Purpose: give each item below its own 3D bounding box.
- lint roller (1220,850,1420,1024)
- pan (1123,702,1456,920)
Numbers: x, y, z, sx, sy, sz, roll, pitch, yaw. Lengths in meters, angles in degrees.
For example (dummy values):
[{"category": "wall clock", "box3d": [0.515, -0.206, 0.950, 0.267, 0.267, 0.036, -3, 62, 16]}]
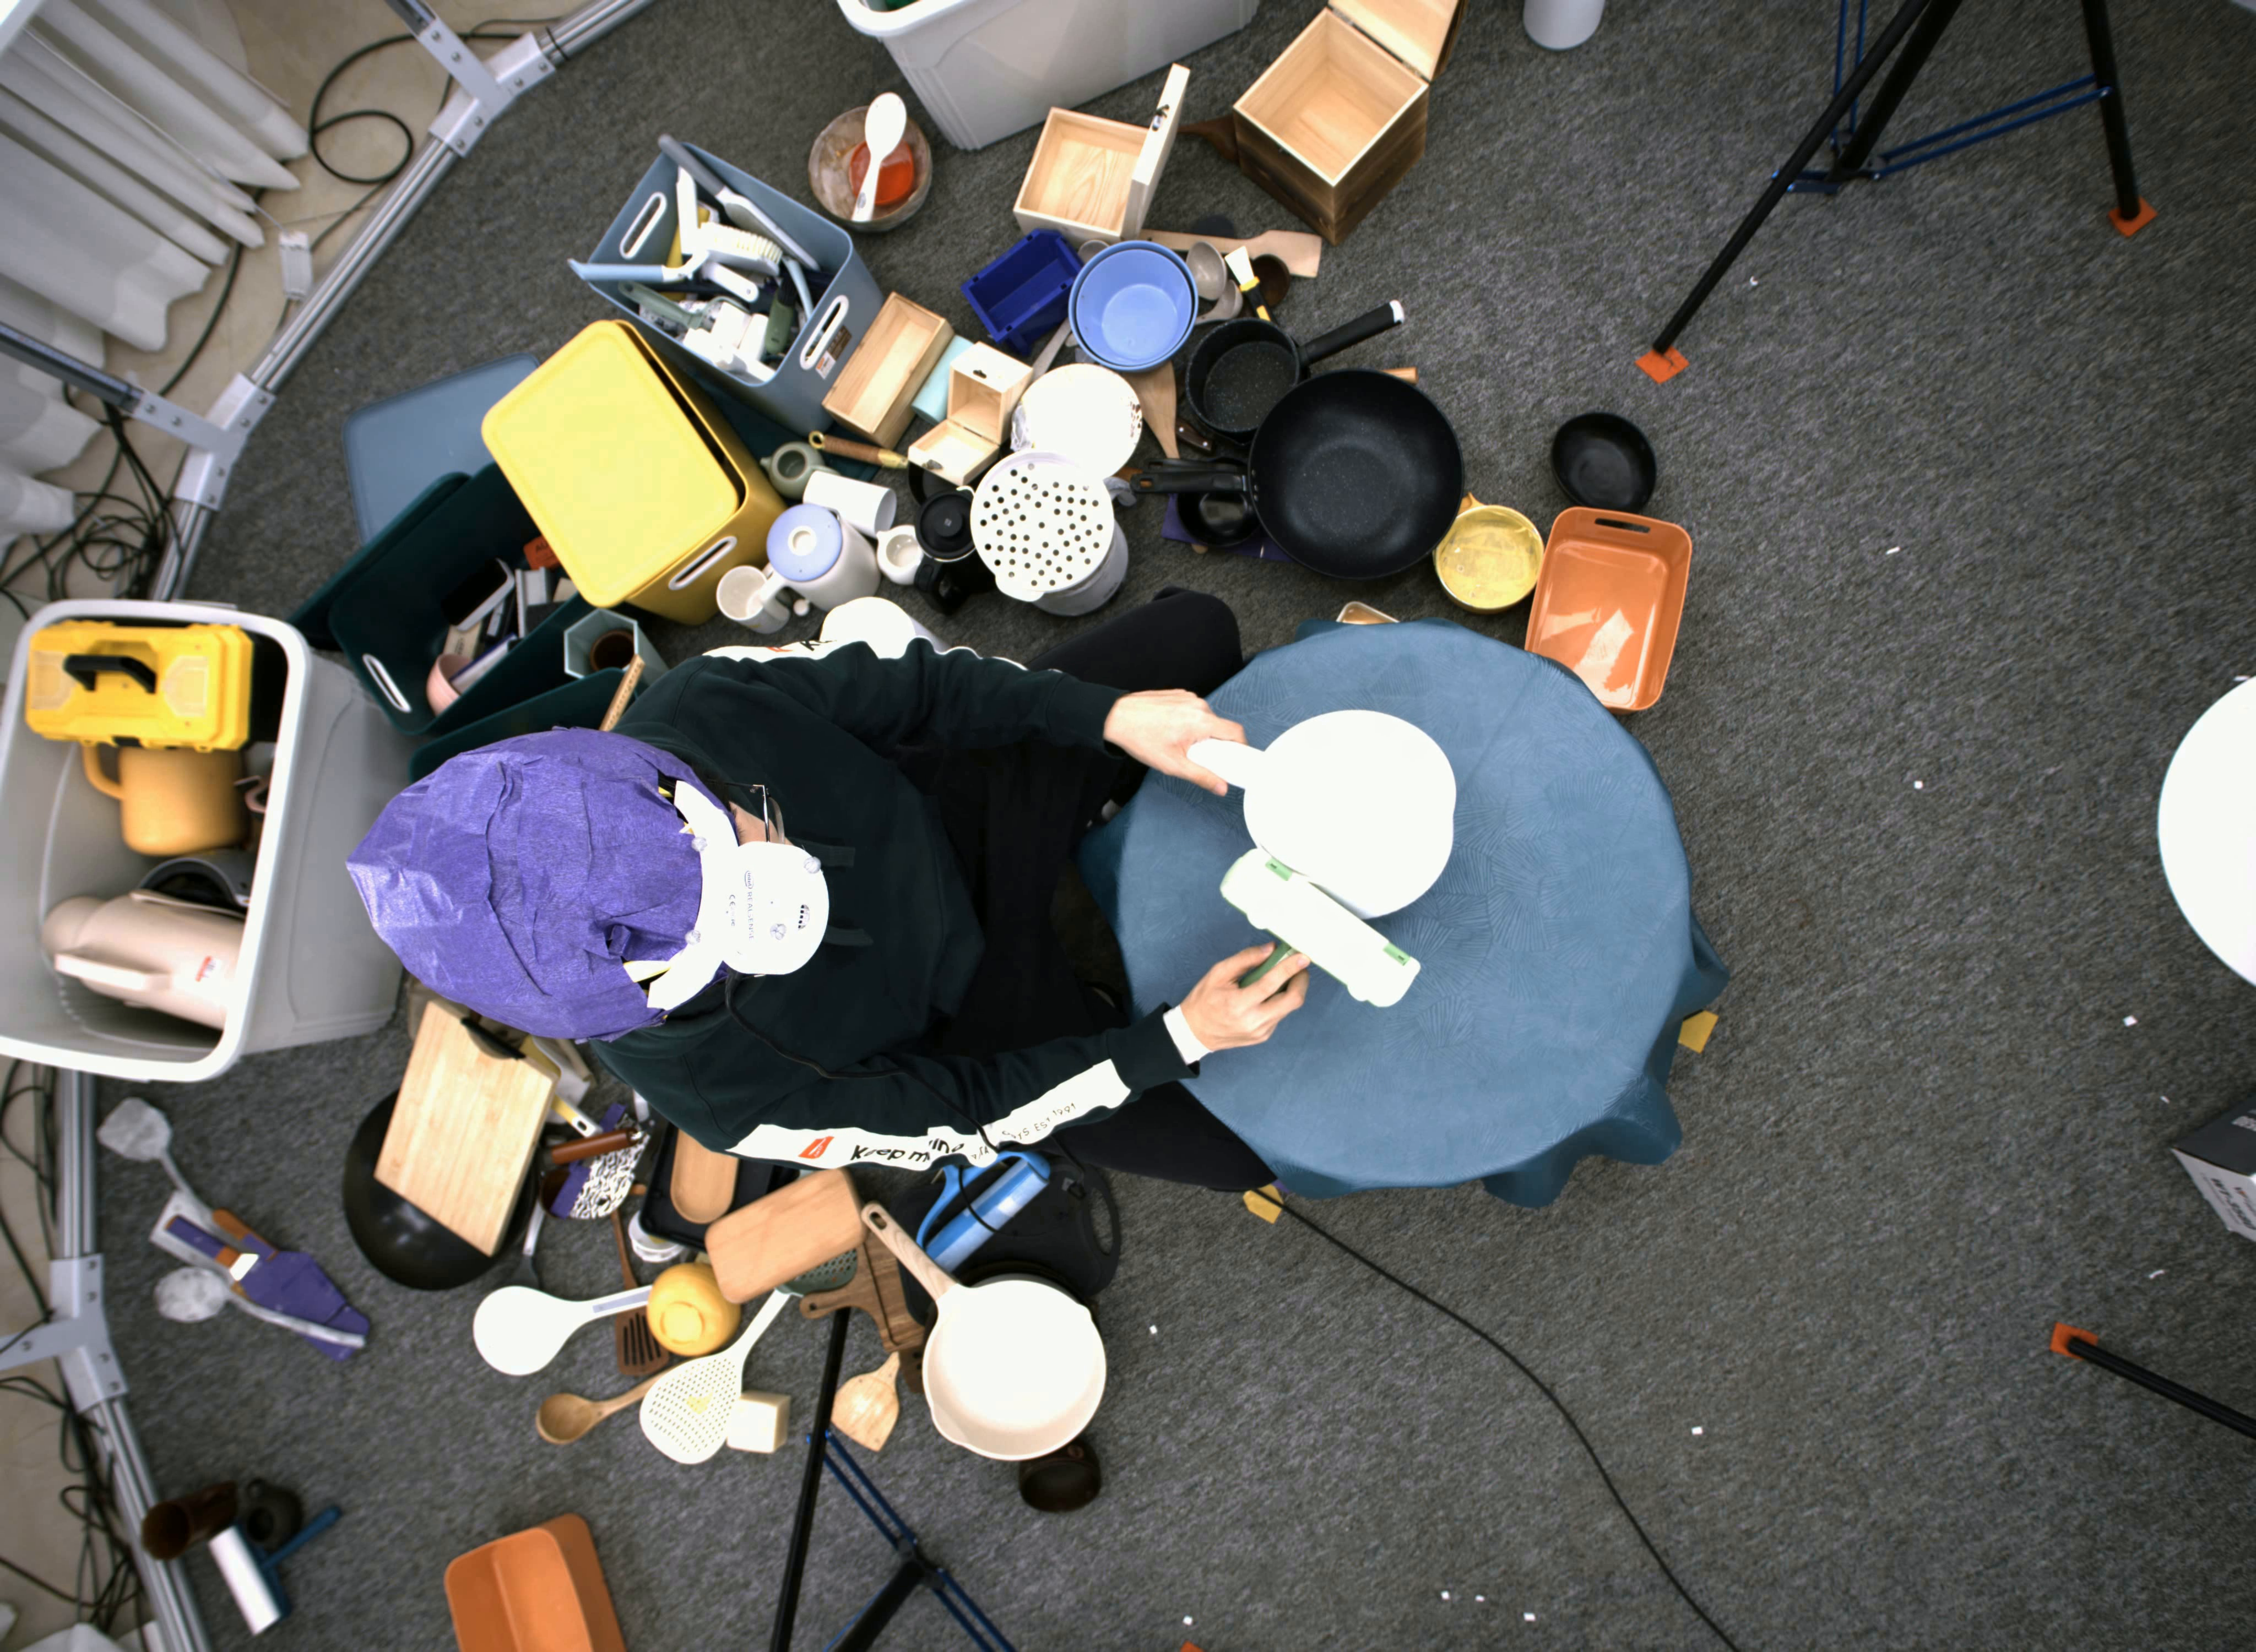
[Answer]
[{"category": "lint roller", "box3d": [0.145, 0.139, 1.314, 0.199, 0.080, 0.187, 35, 116, -7]}, {"category": "pan", "box3d": [0.158, -0.032, 1.391, 0.354, 0.104, 0.198, 22, 68, 26]}]
